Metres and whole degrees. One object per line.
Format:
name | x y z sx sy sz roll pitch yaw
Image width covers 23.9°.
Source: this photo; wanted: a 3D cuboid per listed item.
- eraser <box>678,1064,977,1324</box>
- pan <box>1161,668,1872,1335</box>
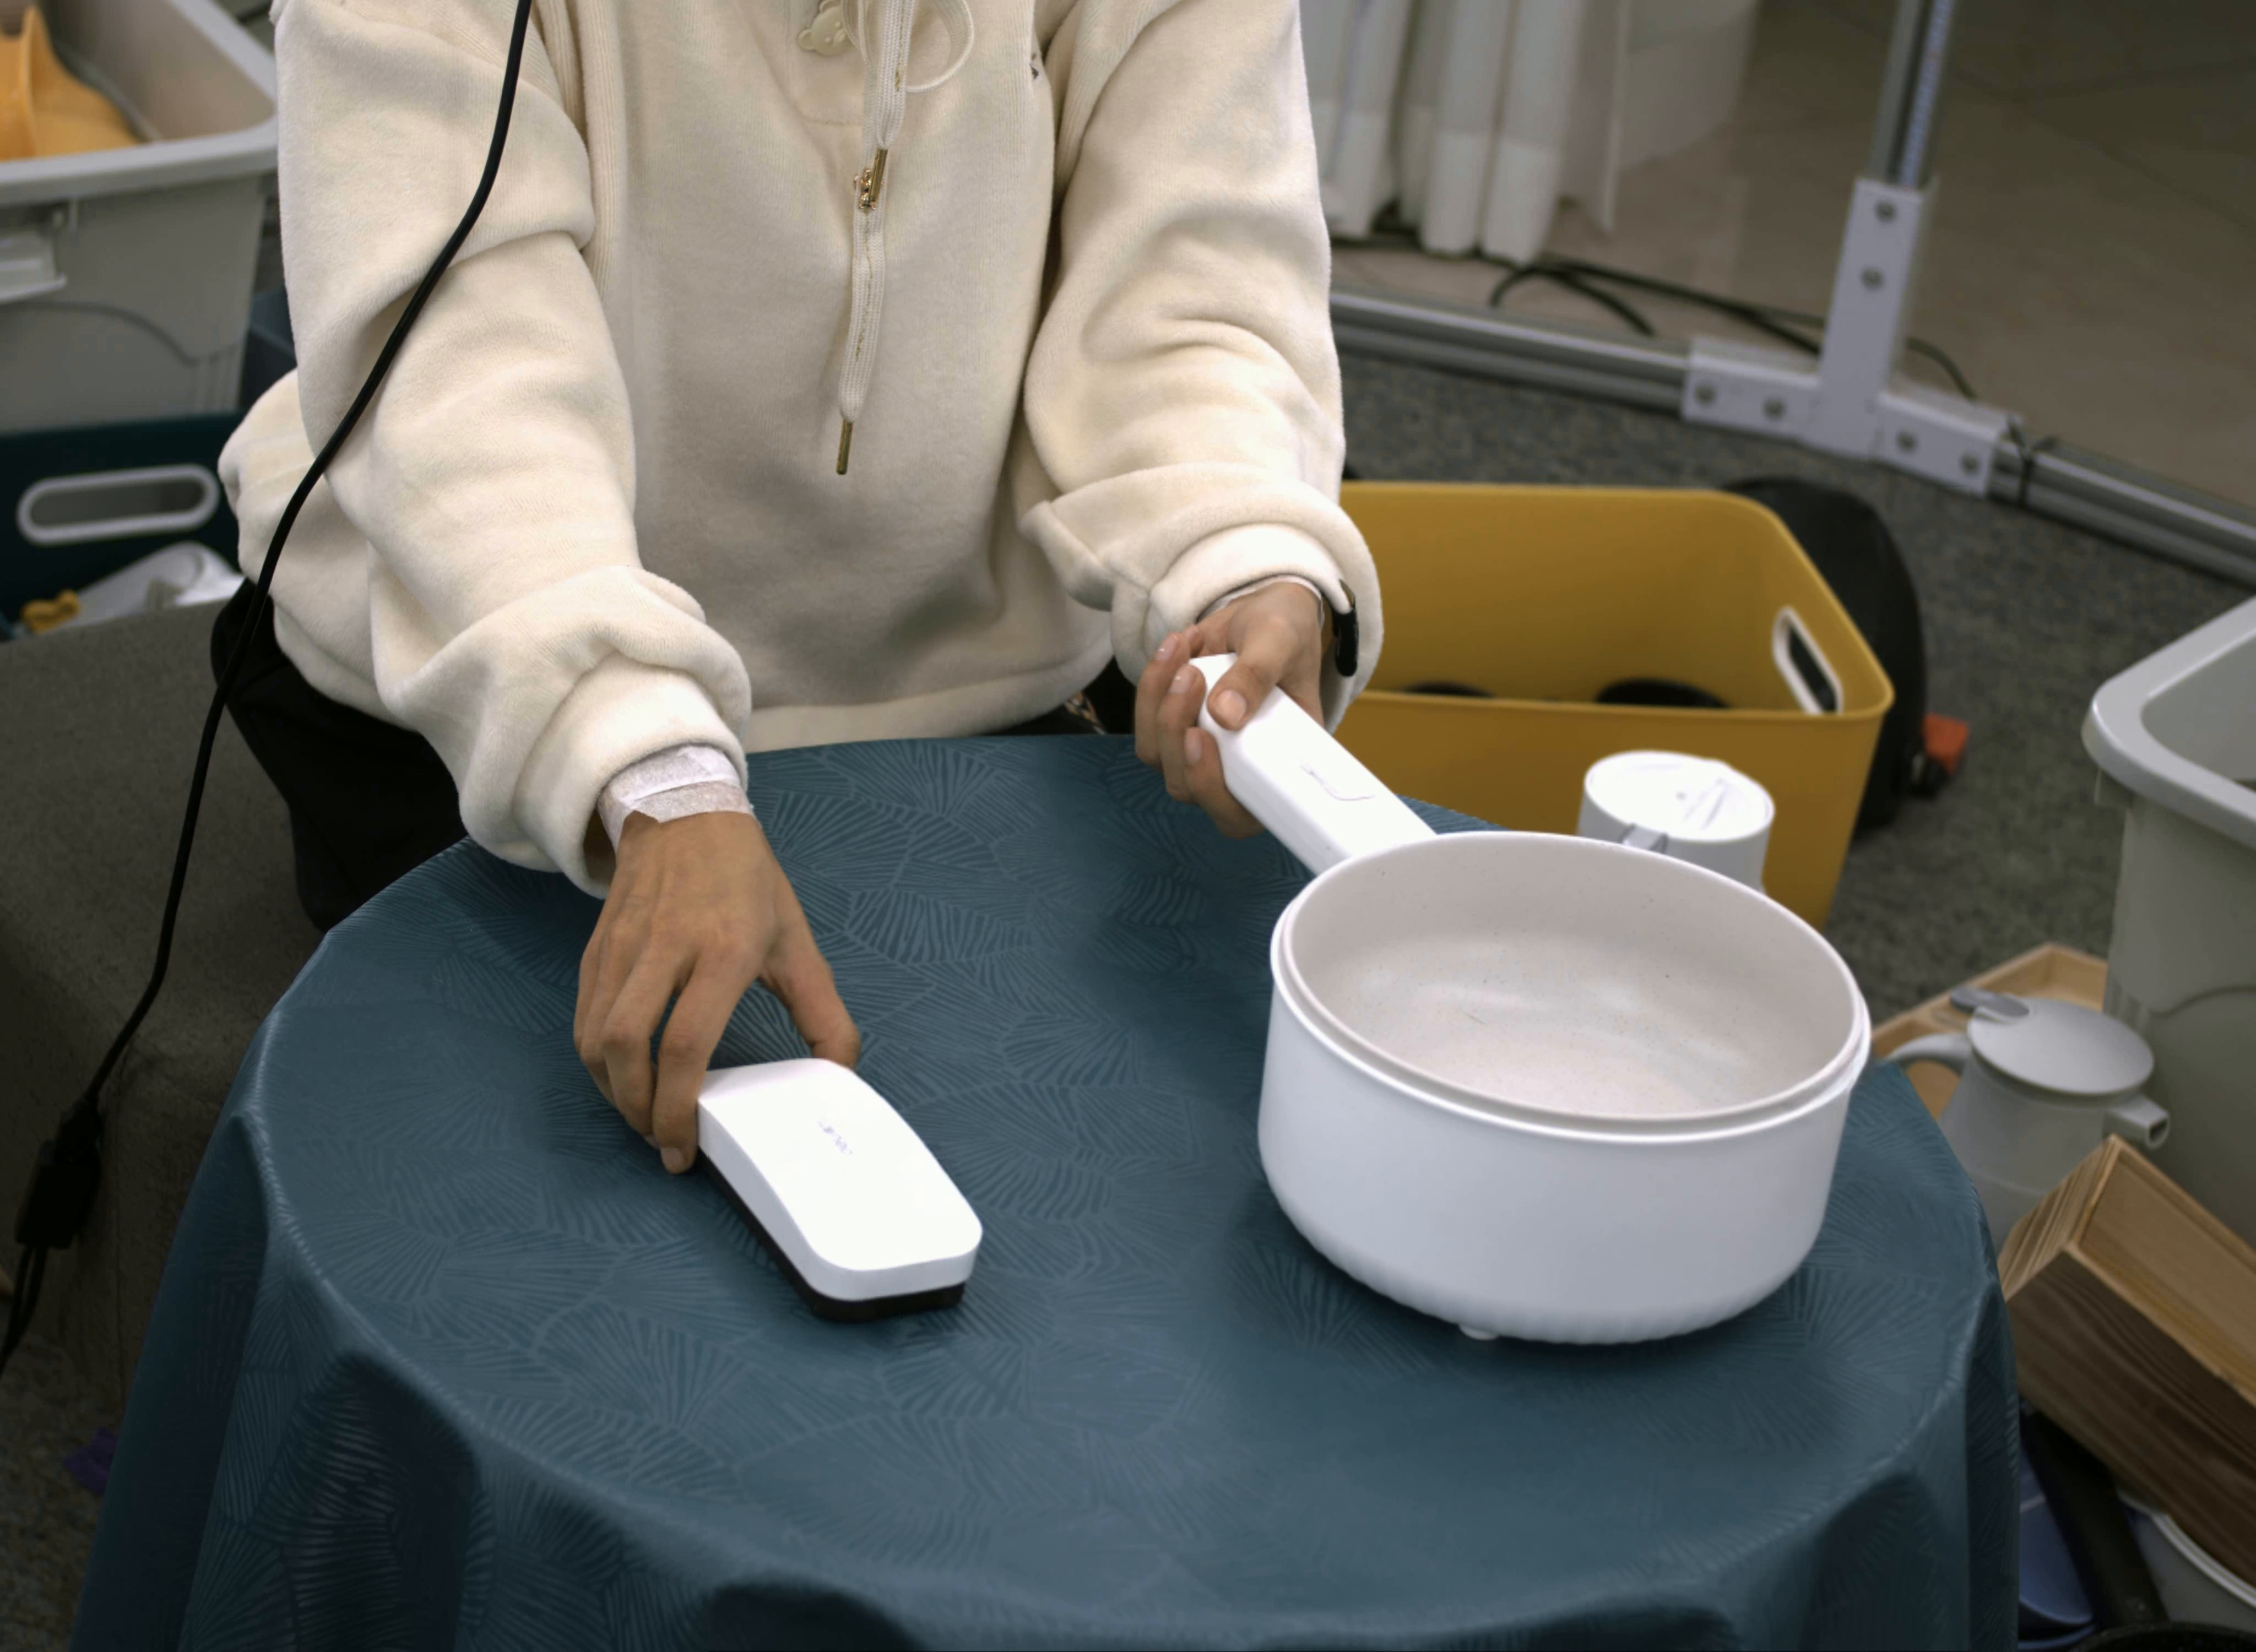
eraser | -0.100 0.117 1.758 0.063 0.034 0.132 -4 29 -28
pan | 0.106 0.058 1.845 0.200 0.102 0.358 -7 27 -28
